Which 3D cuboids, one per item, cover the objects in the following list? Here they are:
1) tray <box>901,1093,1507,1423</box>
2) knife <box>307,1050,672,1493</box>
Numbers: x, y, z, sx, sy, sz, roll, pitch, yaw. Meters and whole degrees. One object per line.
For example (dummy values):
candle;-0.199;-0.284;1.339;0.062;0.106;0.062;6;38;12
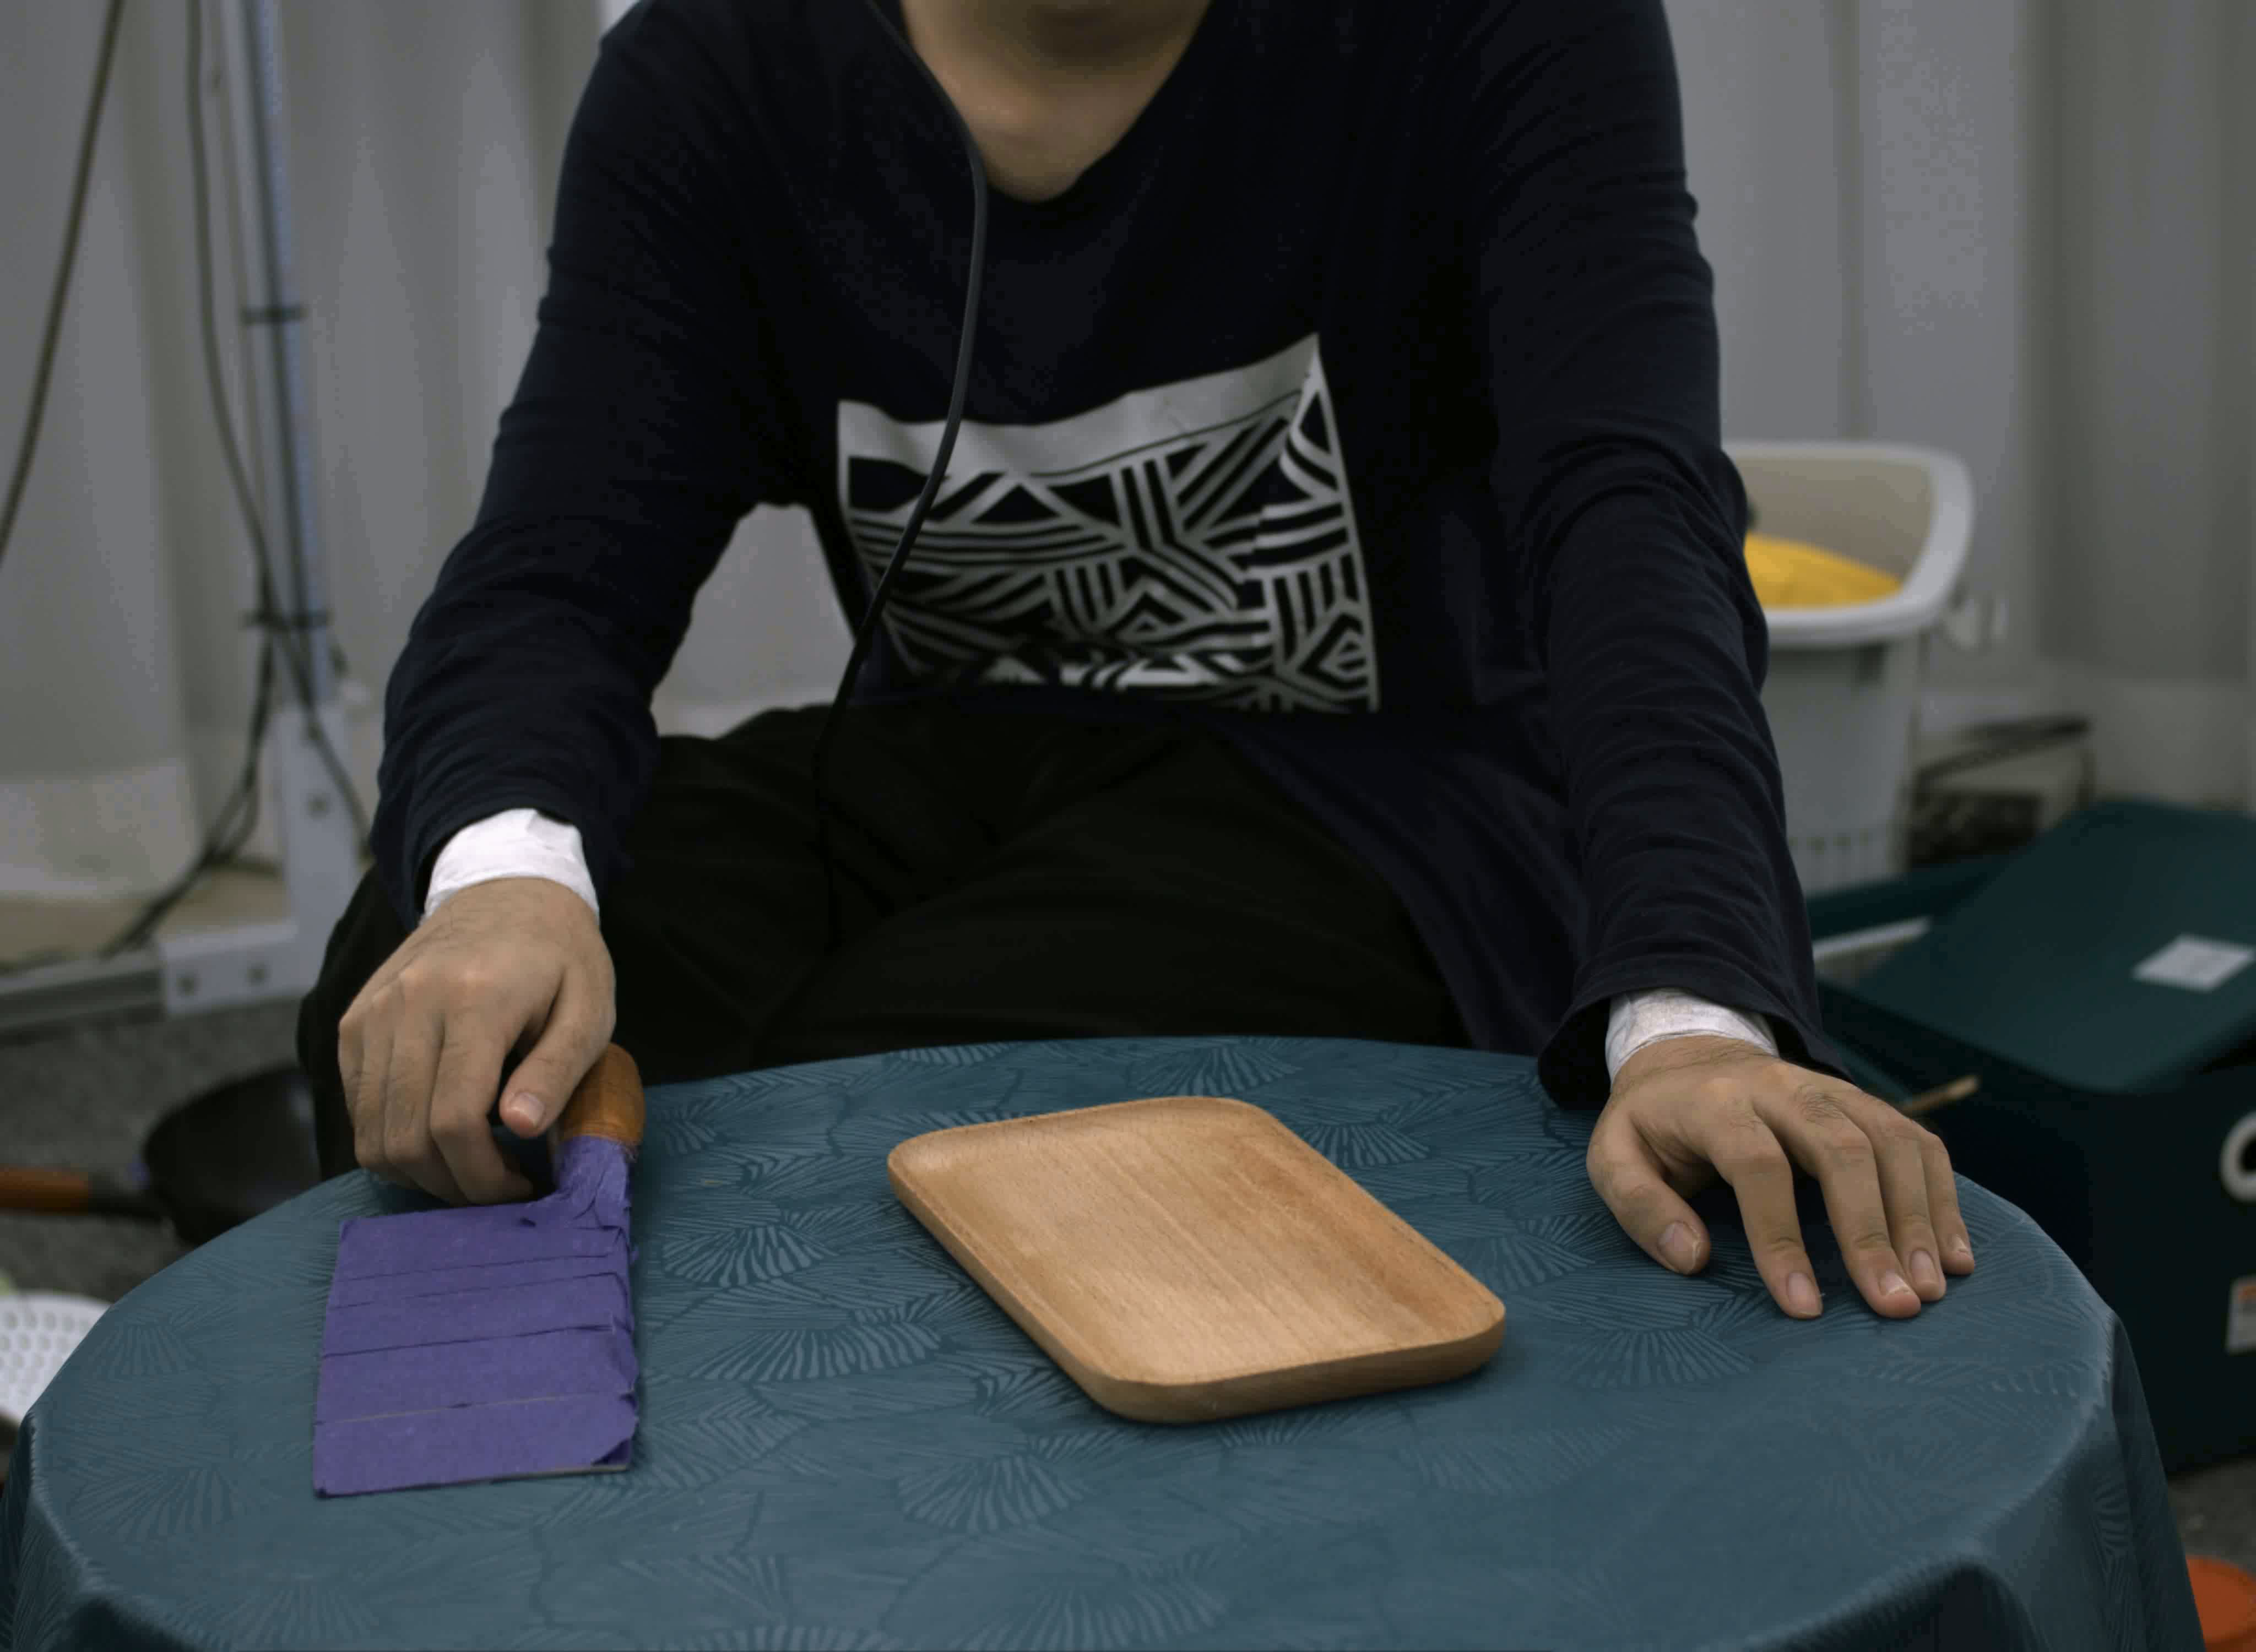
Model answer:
tray;0.018;0.127;1.638;0.130;0.023;0.252;-4;14;-15
knife;-0.192;0.130;1.645;0.103;0.032;0.317;-4;15;-5
